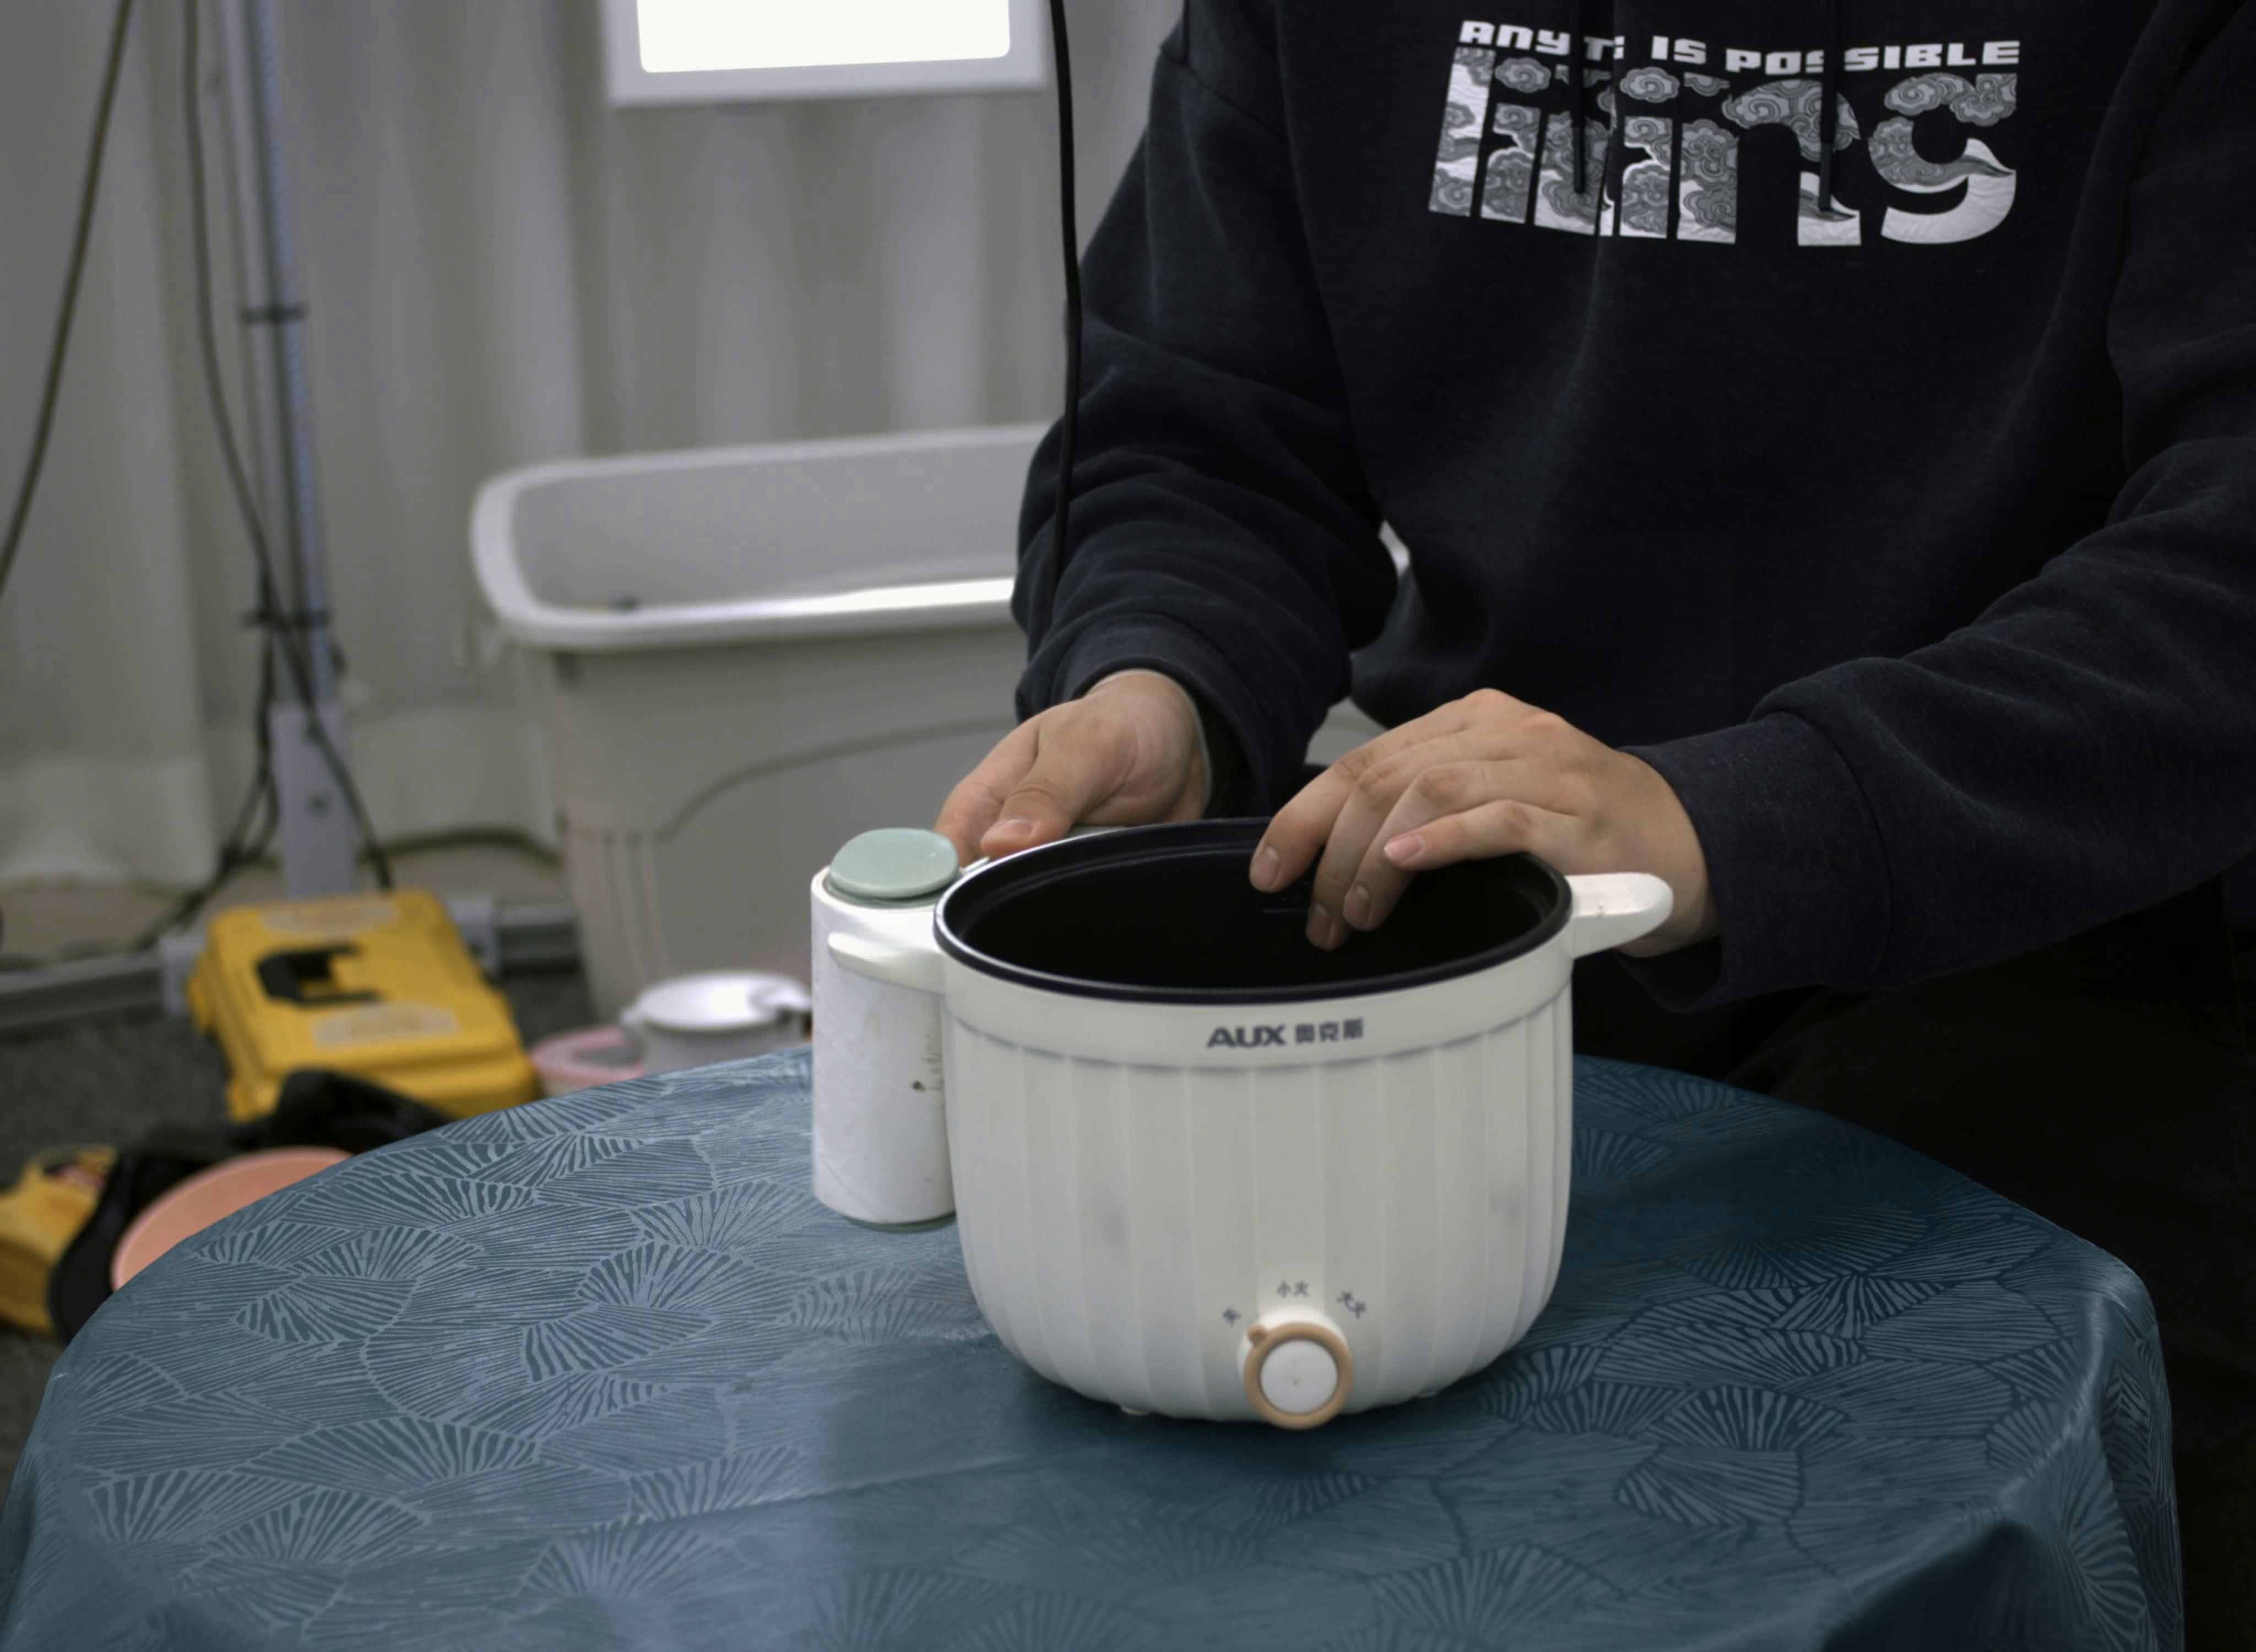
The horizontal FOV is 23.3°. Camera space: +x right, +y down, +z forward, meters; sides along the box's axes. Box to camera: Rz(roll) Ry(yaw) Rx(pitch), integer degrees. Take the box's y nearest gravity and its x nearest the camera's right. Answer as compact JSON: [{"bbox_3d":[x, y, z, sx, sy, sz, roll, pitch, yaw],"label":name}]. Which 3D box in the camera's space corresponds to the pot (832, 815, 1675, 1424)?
[{"bbox_3d":[0.040,0.086,1.552,0.239,0.142,0.191,-5,11,-4],"label":"pot"}]

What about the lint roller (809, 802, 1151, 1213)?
[{"bbox_3d":[-0.043,0.031,1.670,0.048,0.116,0.198,2,20,19],"label":"lint roller"}]
